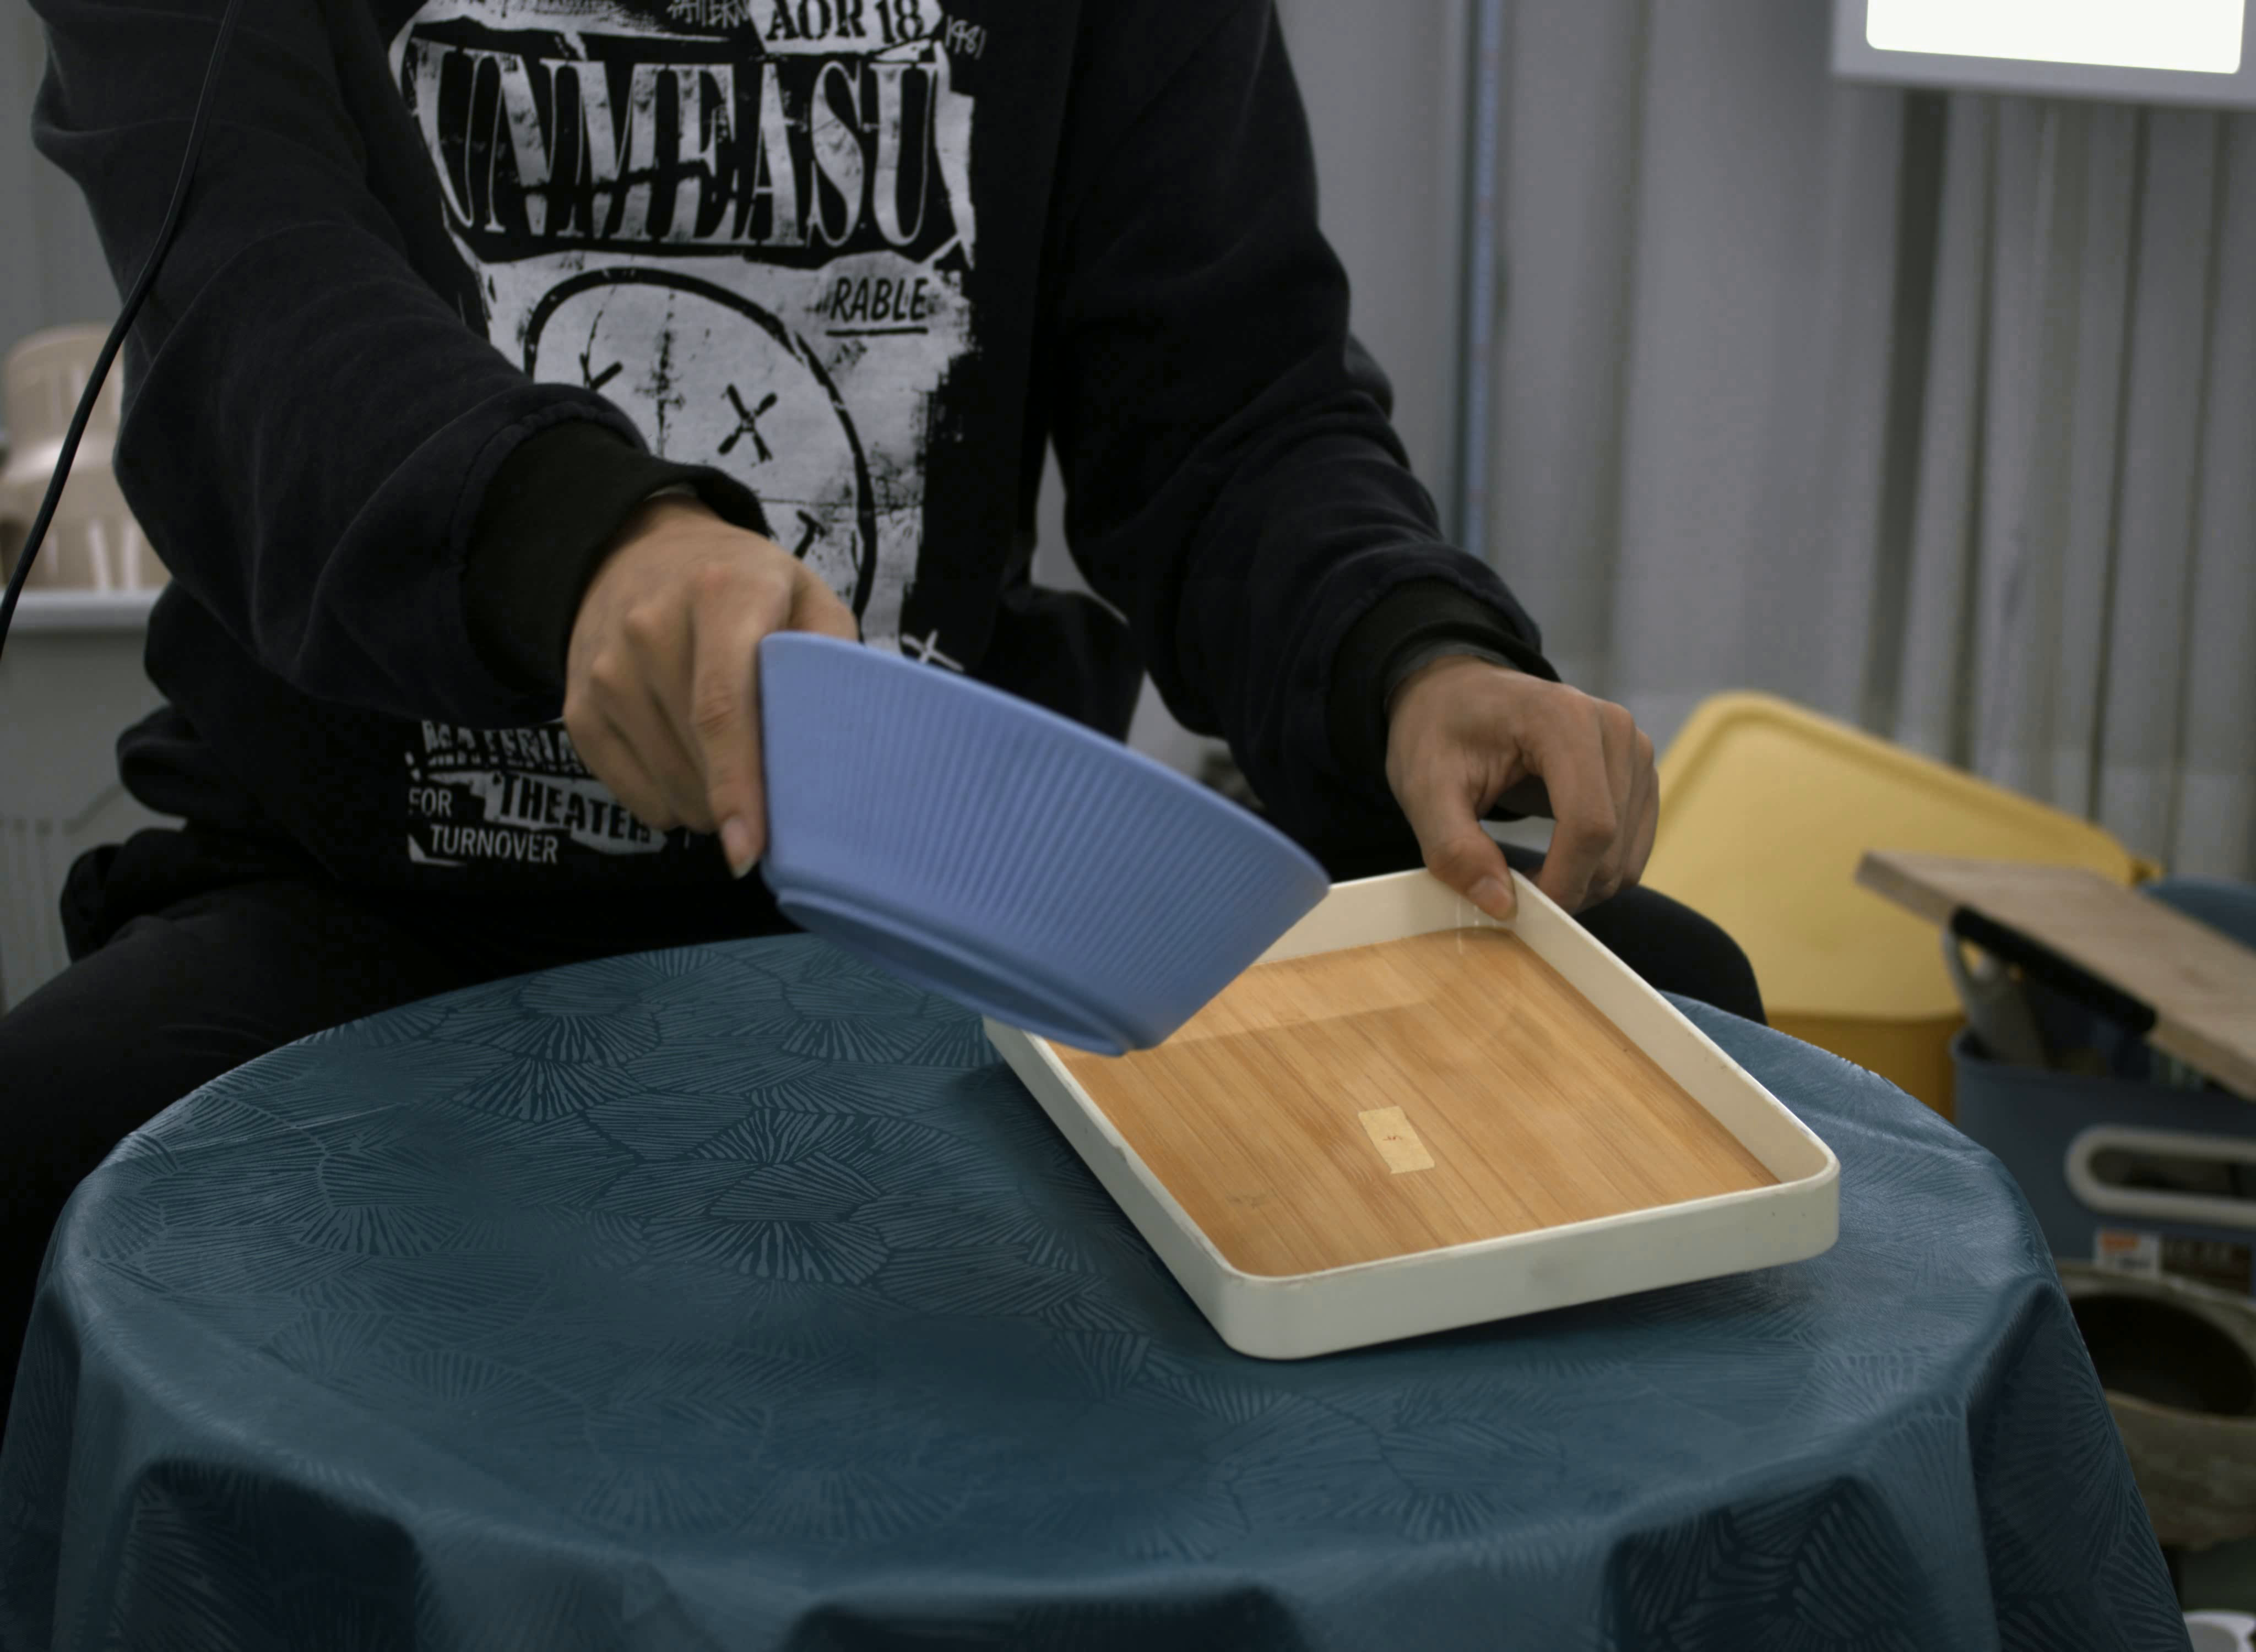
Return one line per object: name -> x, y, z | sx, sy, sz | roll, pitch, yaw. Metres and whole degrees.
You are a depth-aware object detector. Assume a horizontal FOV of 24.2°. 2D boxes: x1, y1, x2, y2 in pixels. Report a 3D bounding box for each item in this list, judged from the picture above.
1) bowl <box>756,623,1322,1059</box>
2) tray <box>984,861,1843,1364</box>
bowl -> -0.038, 0.012, 1.481 | 0.175, 0.070, 0.176 | 25, -8, 4
tray -> 0.080, 0.083, 1.635 | 0.192, 0.027, 0.297 | -9, 21, -15
